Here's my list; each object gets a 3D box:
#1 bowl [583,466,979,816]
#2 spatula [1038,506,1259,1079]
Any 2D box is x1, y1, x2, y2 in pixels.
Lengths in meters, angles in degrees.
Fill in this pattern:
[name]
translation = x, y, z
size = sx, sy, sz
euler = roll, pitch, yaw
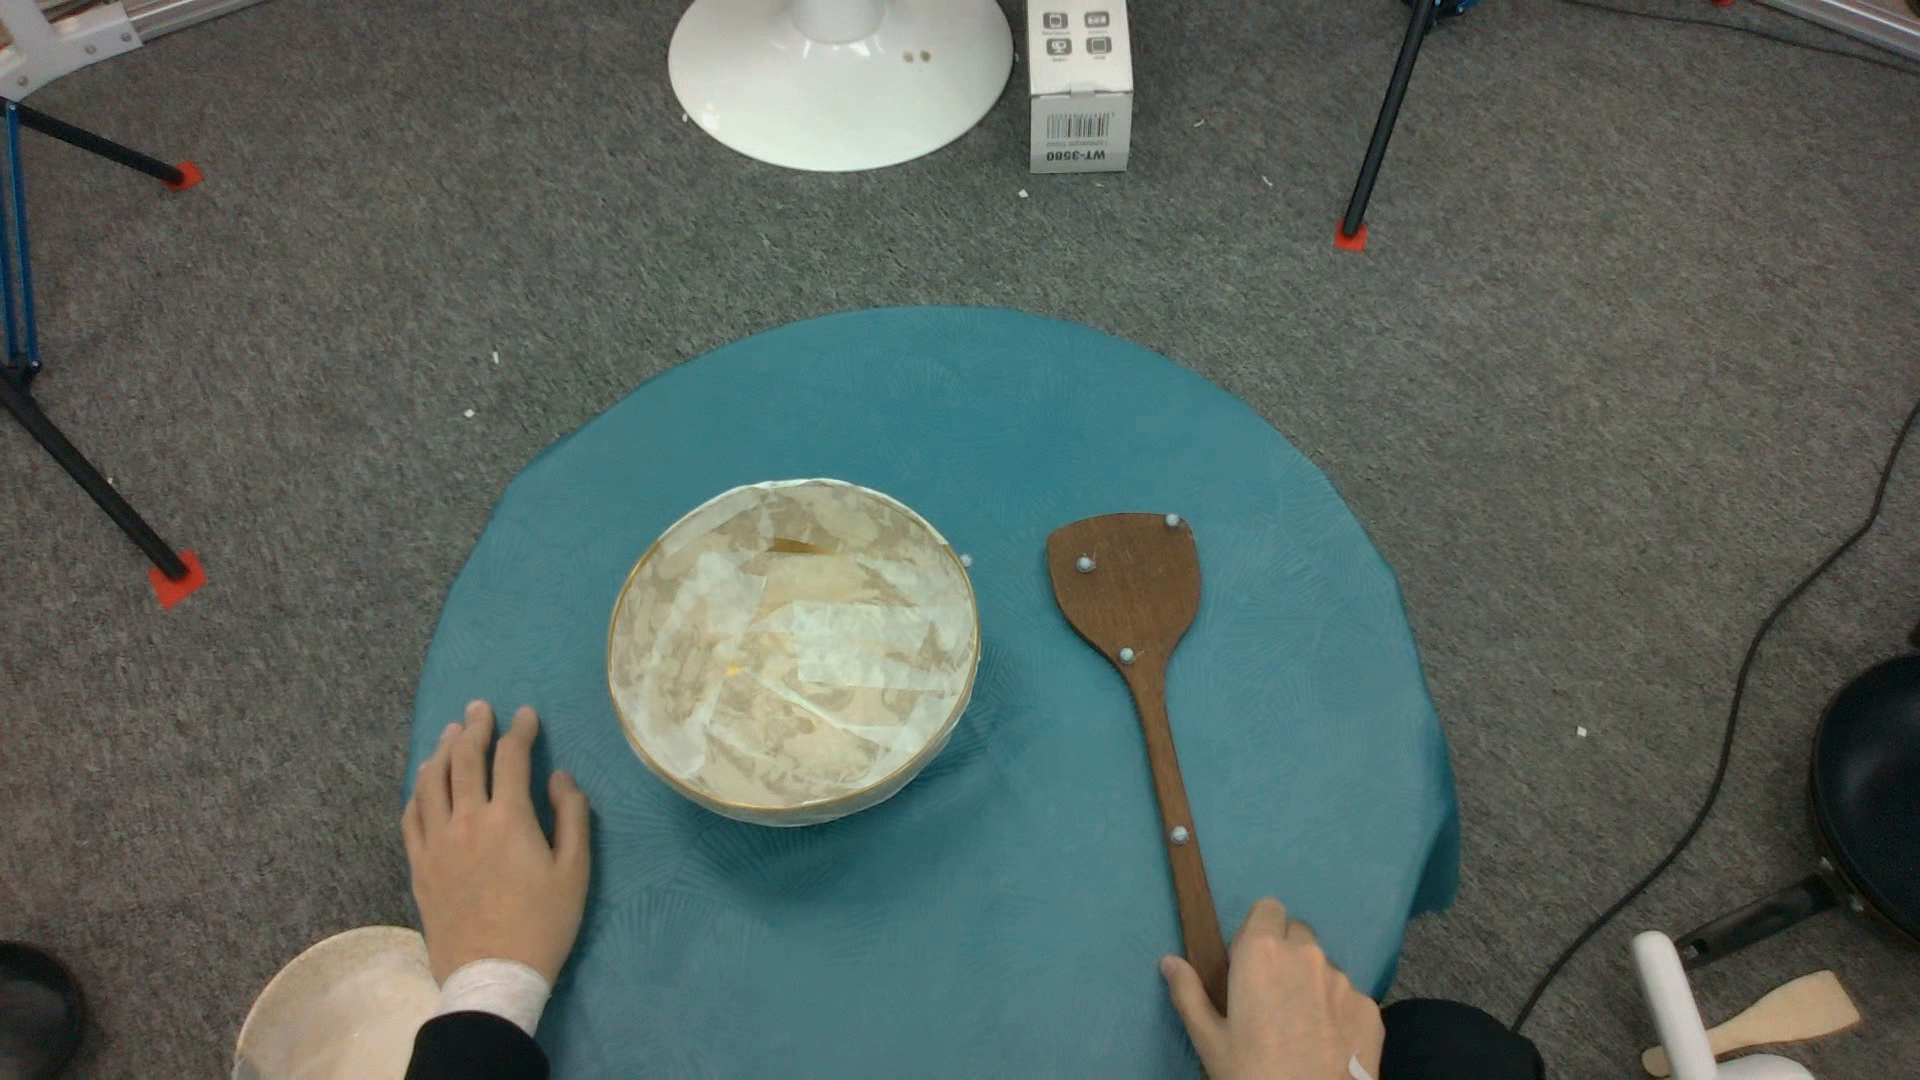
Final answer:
[bowl]
translation = -0.096, 0.069, 0.769
size = 0.215, 0.094, 0.215
euler = 1, 58, -2
[spatula]
translation = 0.116, 0.143, 0.771
size = 0.096, 0.016, 0.387
euler = -6, 58, -4
